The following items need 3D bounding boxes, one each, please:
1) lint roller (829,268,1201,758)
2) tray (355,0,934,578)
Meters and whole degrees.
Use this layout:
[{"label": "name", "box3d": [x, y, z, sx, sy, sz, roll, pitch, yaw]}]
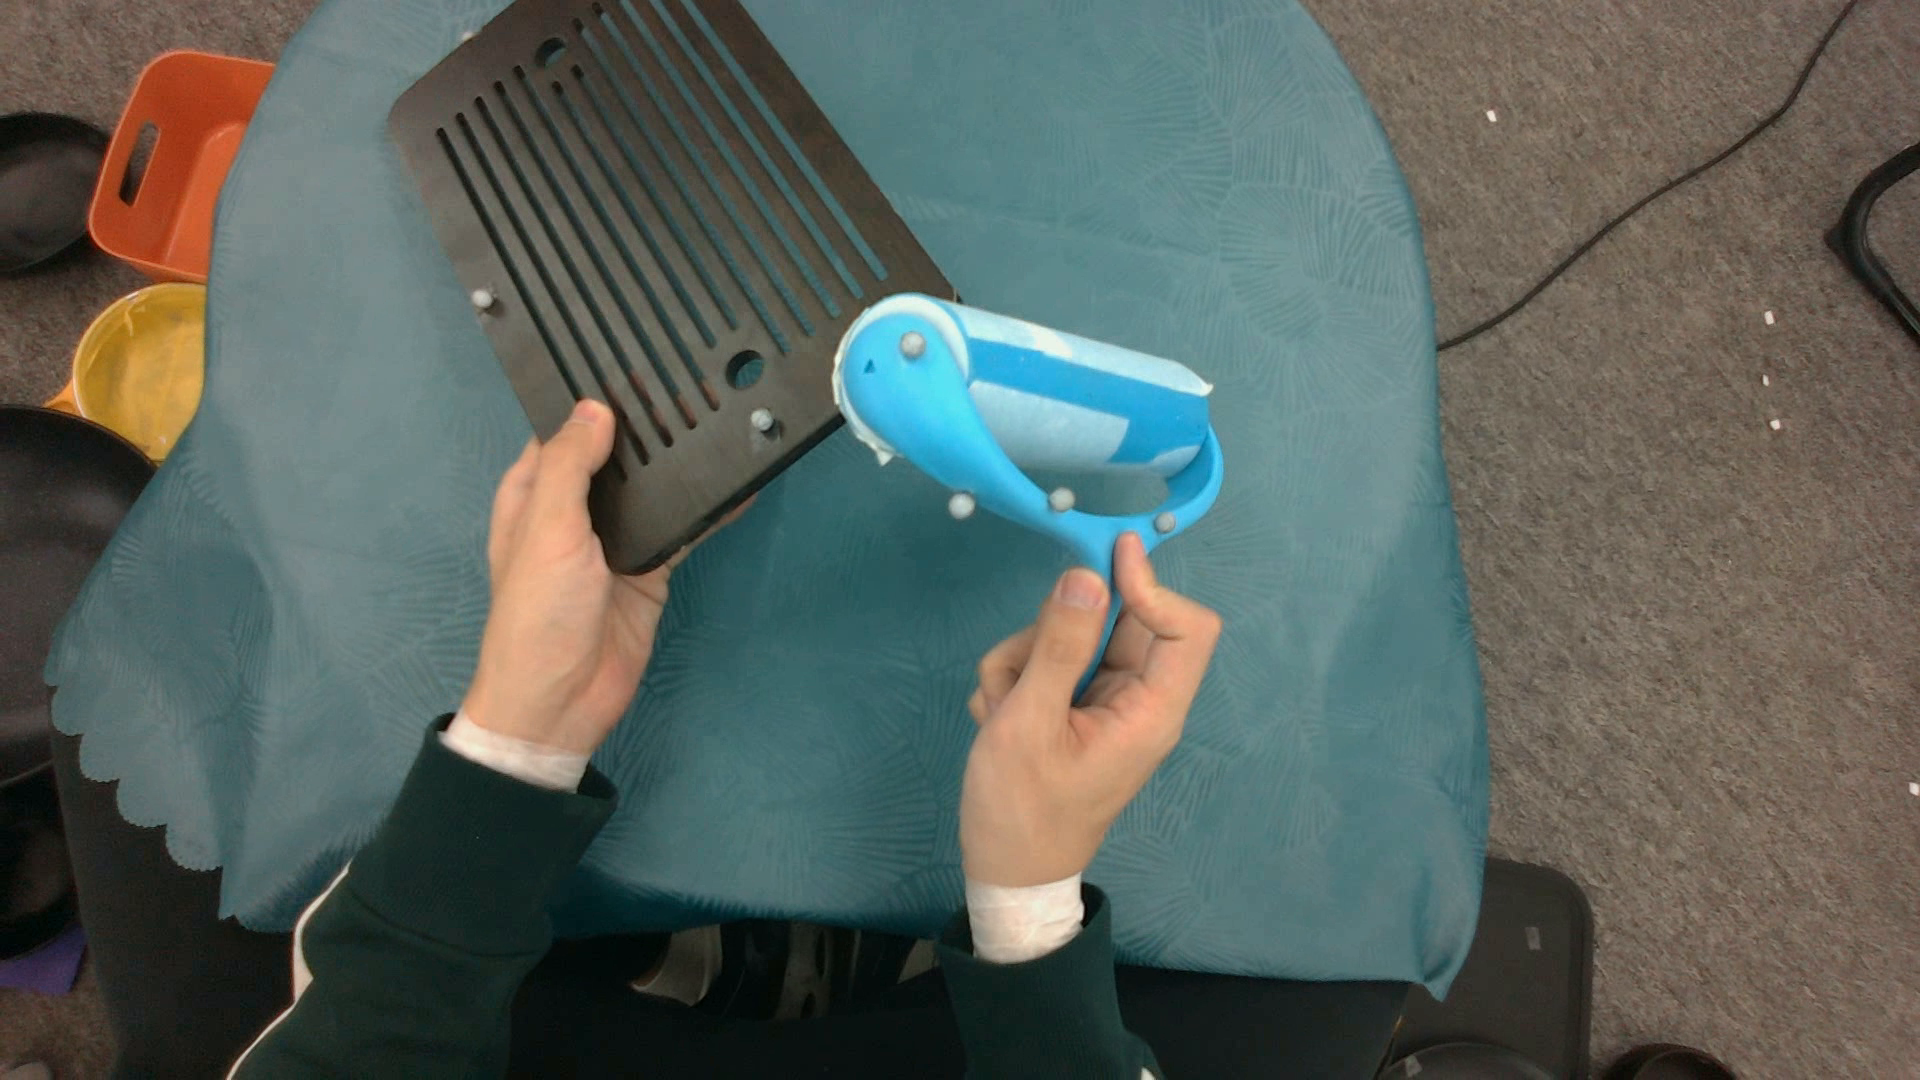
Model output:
[{"label": "lint roller", "box3d": [0.031, -0.005, 0.528, 0.068, 0.229, 0.180, -1, 94, 30]}, {"label": "tray", "box3d": [-0.145, -0.139, 0.582, 0.170, 0.018, 0.306, -40, 61, 6]}]
